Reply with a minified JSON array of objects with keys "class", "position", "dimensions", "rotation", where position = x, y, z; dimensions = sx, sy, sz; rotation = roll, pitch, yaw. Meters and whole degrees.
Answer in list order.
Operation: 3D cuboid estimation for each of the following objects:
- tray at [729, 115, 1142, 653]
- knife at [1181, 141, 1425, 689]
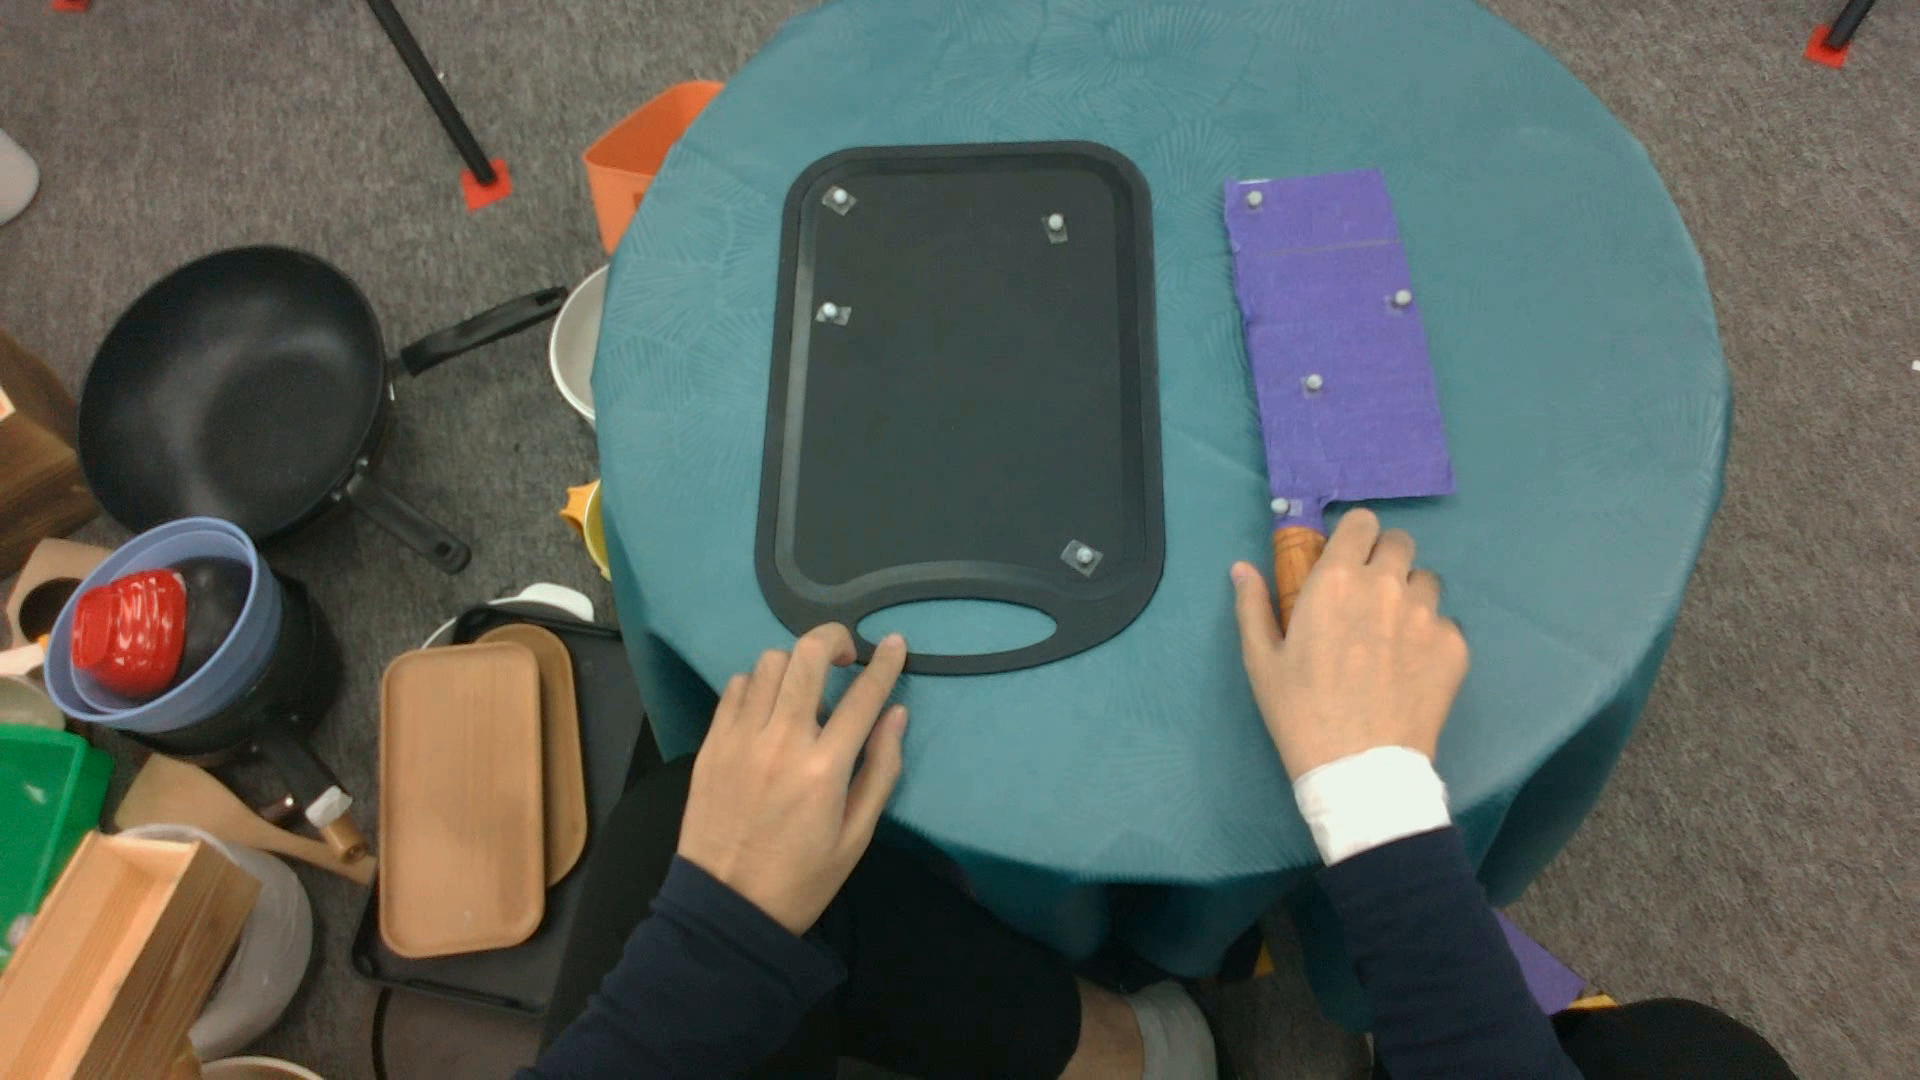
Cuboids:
[{"class":"tray","position":[-0.010,-0.096,0.733],"dimensions":[0.211,0.010,0.326],"rotation":[0,67,3]},{"class":"knife","position":[0.185,-0.080,0.705],"dimensions":[0.104,0.032,0.316],"rotation":[-5,66,1]}]
